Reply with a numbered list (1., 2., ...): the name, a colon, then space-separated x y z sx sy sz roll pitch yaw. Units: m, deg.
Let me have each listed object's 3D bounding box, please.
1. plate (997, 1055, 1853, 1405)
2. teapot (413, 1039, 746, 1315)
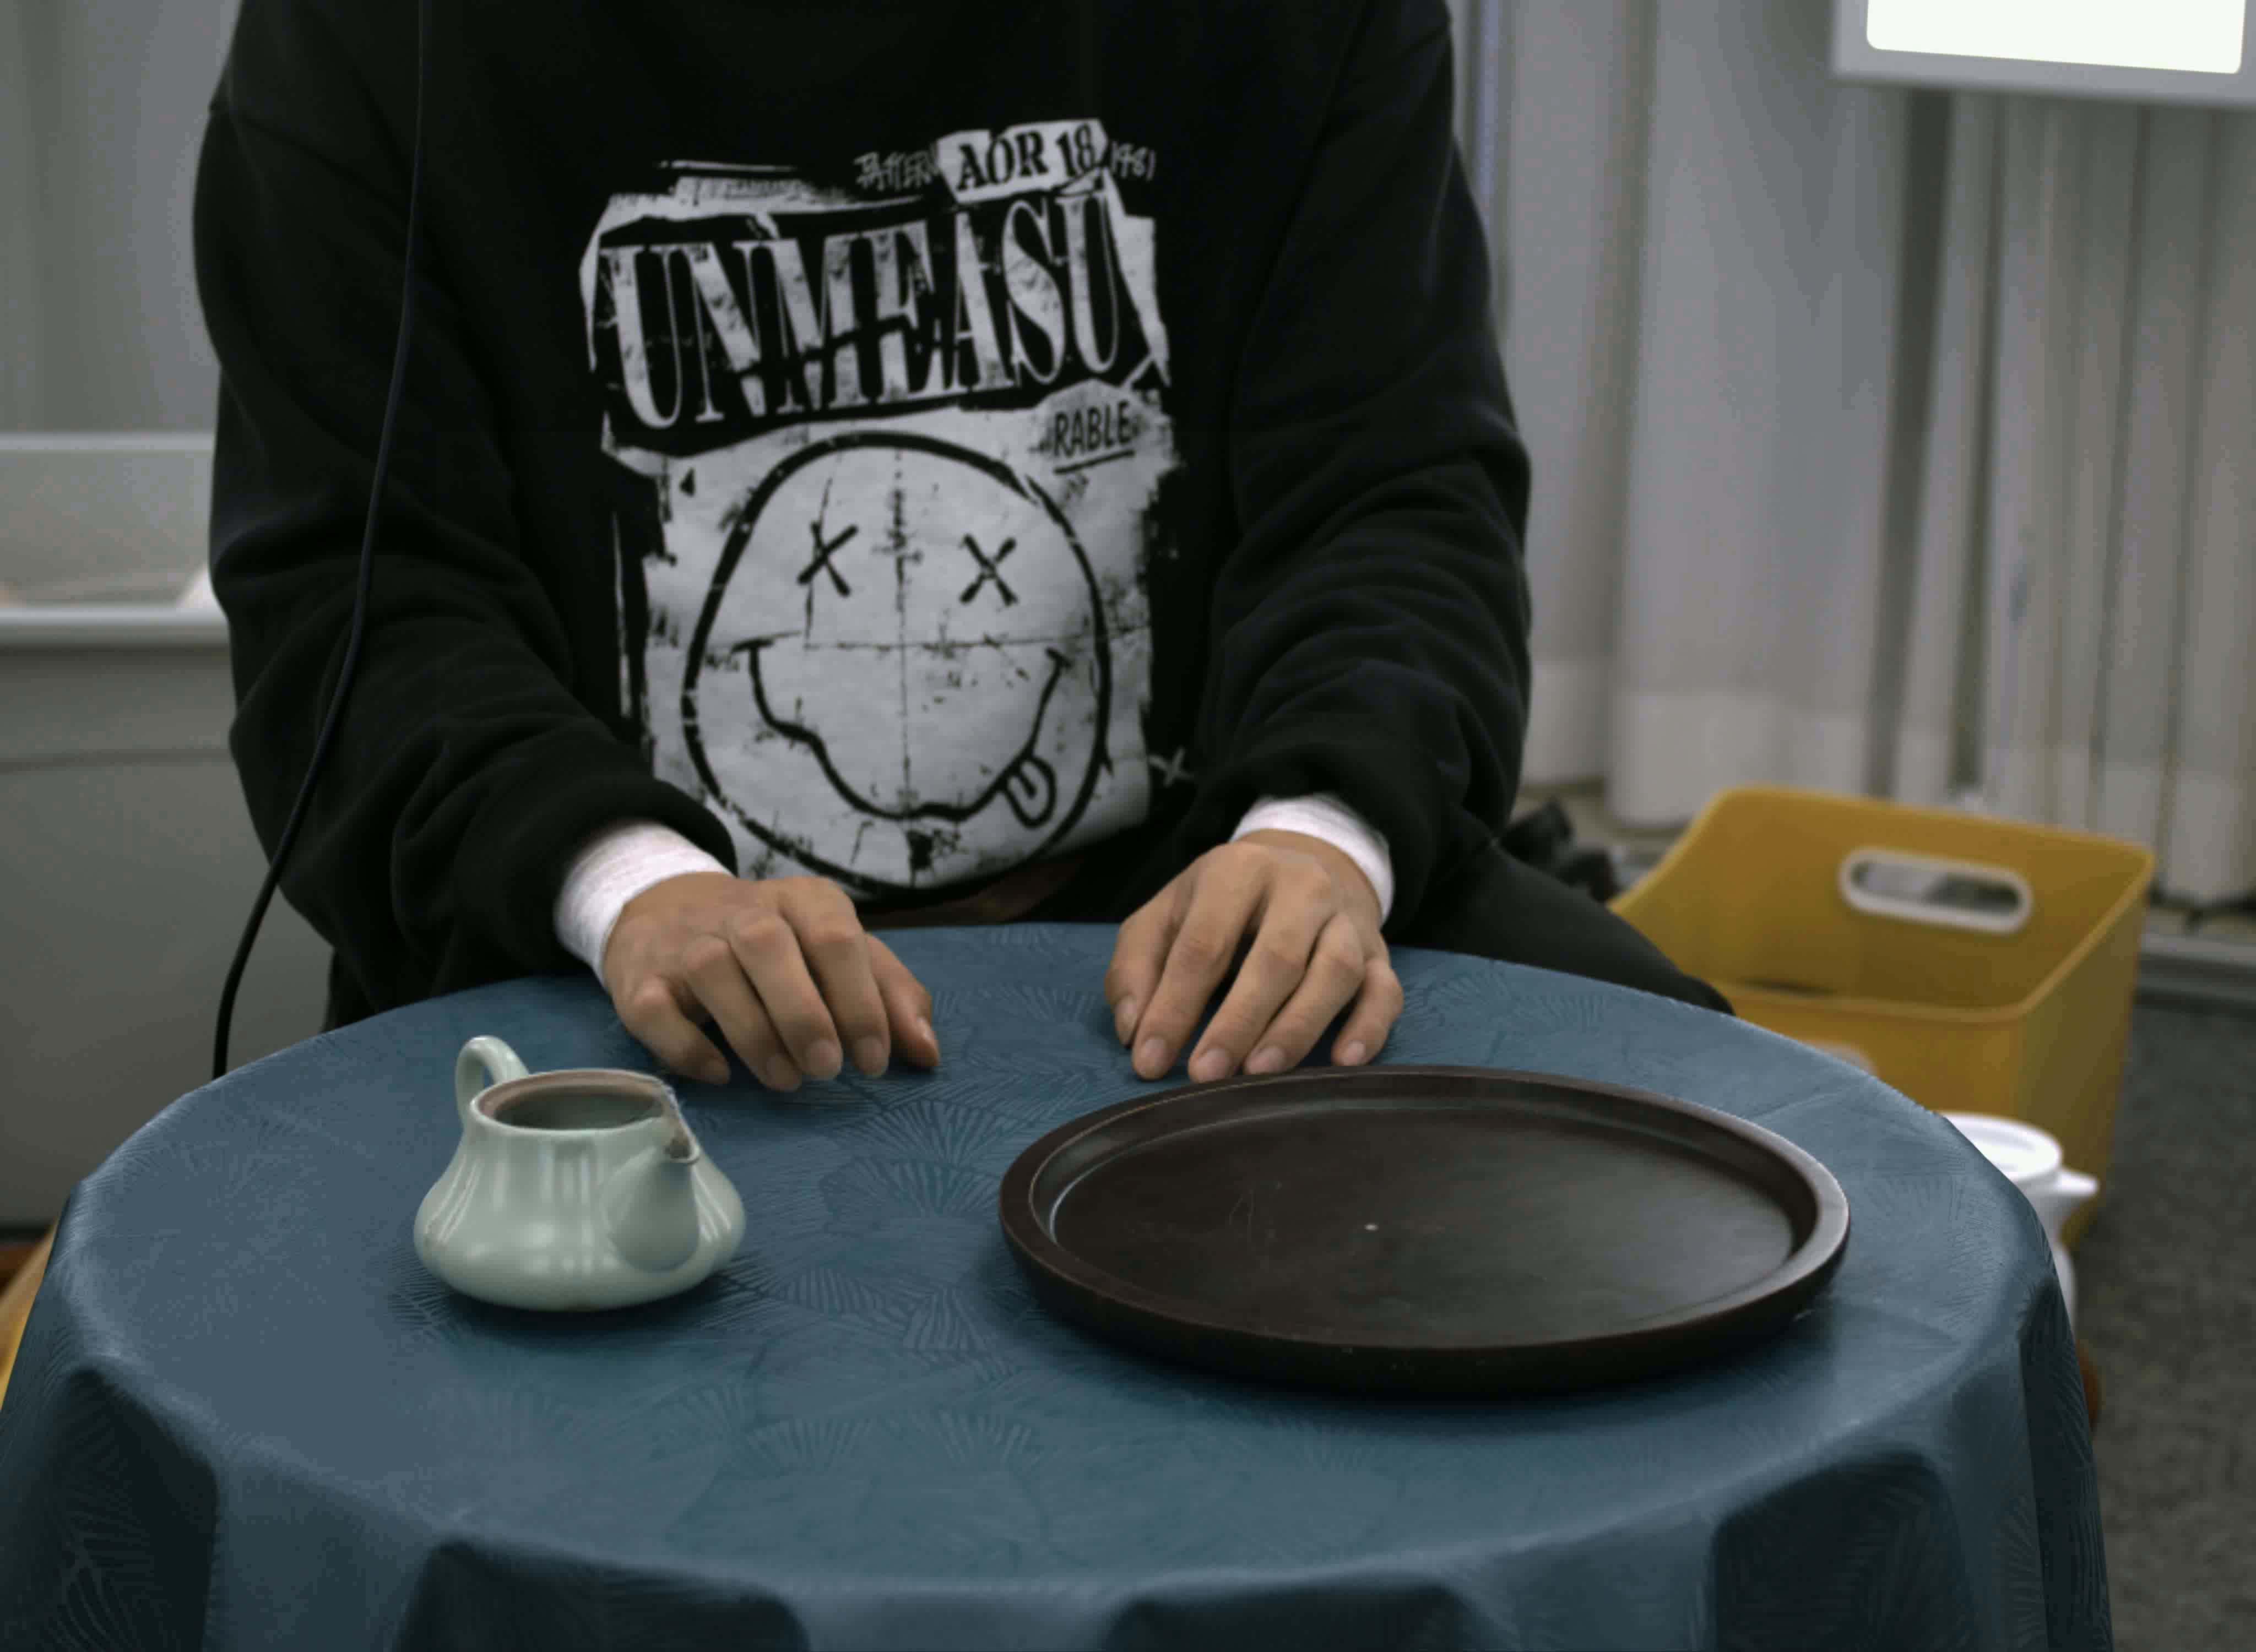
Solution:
1. plate: 0.087 0.118 1.559 0.254 0.029 0.253 0 16 1
2. teapot: -0.163 0.104 1.535 0.096 0.062 0.135 -13 21 -36
